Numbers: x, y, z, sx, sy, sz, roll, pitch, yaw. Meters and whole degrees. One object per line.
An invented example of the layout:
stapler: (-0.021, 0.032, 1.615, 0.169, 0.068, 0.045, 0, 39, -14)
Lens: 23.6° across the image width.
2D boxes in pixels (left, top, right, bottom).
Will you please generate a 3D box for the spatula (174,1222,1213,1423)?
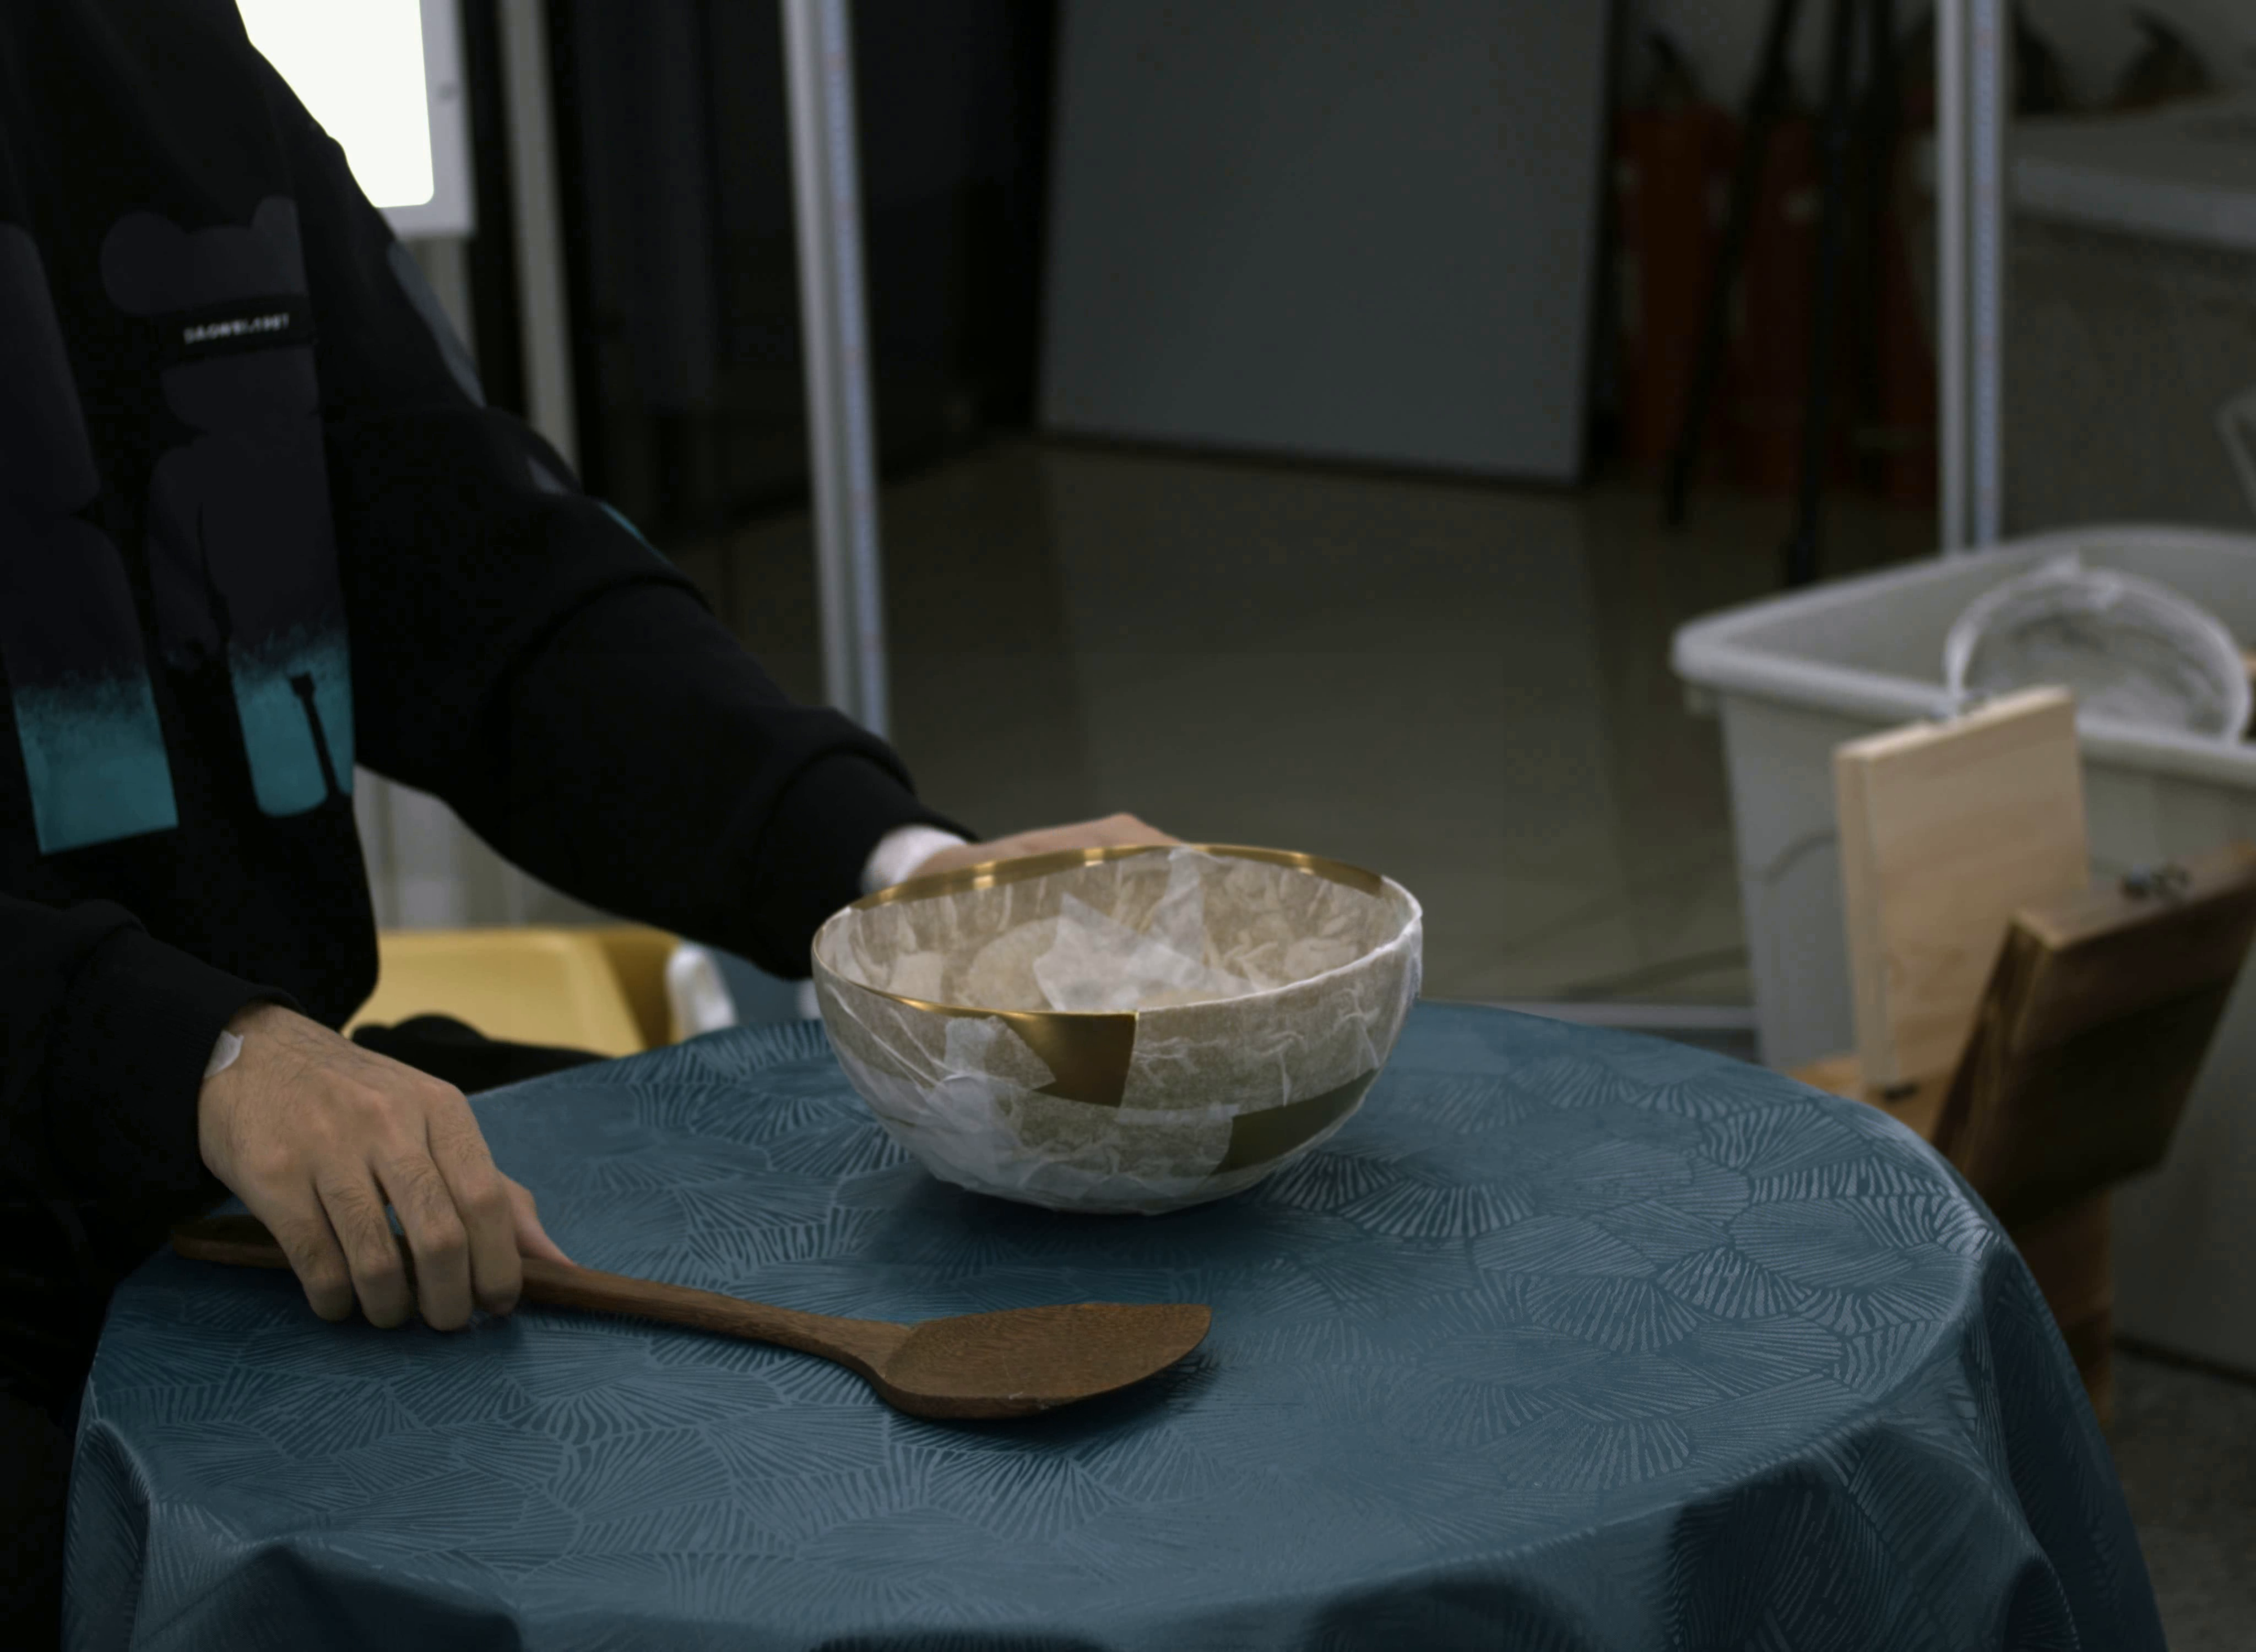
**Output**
spatula: (-0.149, 0.149, 1.675, 0.388, 0.016, 0.094, 5, 16, 33)

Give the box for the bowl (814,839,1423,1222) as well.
bowl: (-0.002, 0.074, 1.770, 0.212, 0.095, 0.215, -6, 14, 1)
